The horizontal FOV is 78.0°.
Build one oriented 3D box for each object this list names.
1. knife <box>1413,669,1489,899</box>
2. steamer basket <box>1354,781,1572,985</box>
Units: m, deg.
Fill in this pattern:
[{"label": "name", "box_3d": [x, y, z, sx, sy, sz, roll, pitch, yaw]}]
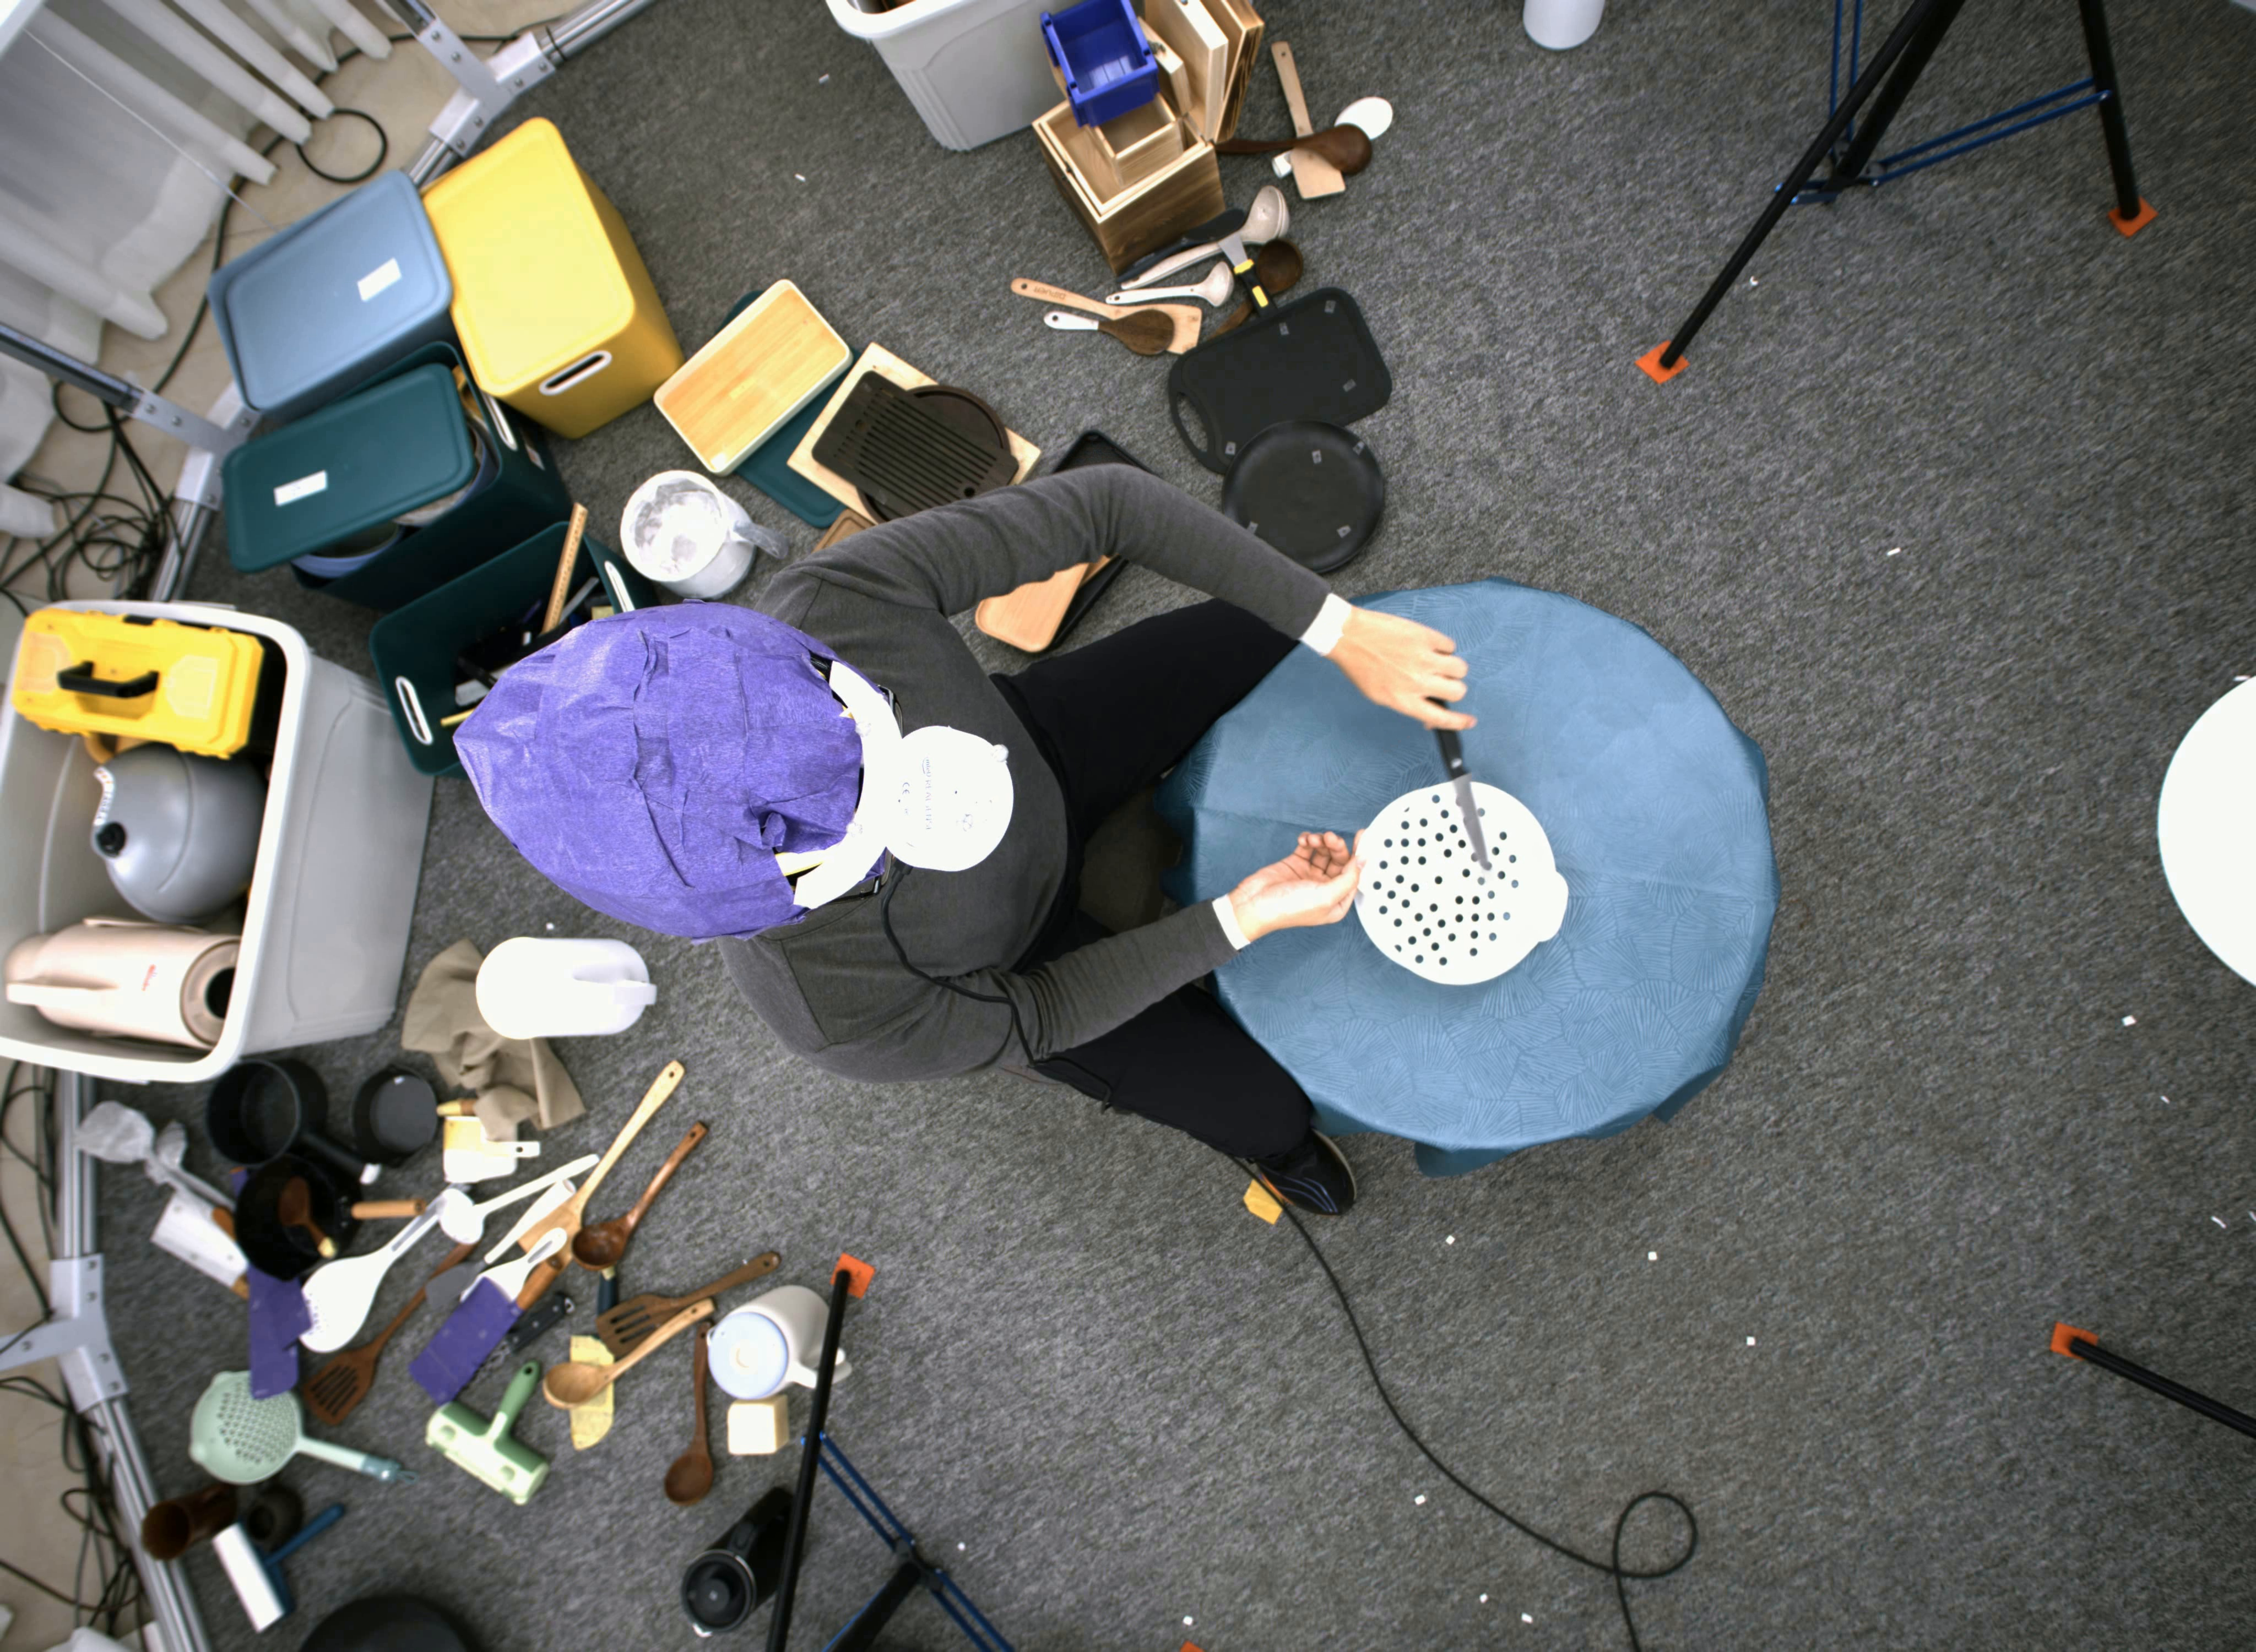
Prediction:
[{"label": "knife", "box_3d": [0.319, -0.040, 1.348, 0.024, 0.016, 0.240, -20, 101, -5]}, {"label": "steamer basket", "box_3d": [0.330, 0.055, 1.391, 0.231, 0.069, 0.202, 15, 90, -8]}]
